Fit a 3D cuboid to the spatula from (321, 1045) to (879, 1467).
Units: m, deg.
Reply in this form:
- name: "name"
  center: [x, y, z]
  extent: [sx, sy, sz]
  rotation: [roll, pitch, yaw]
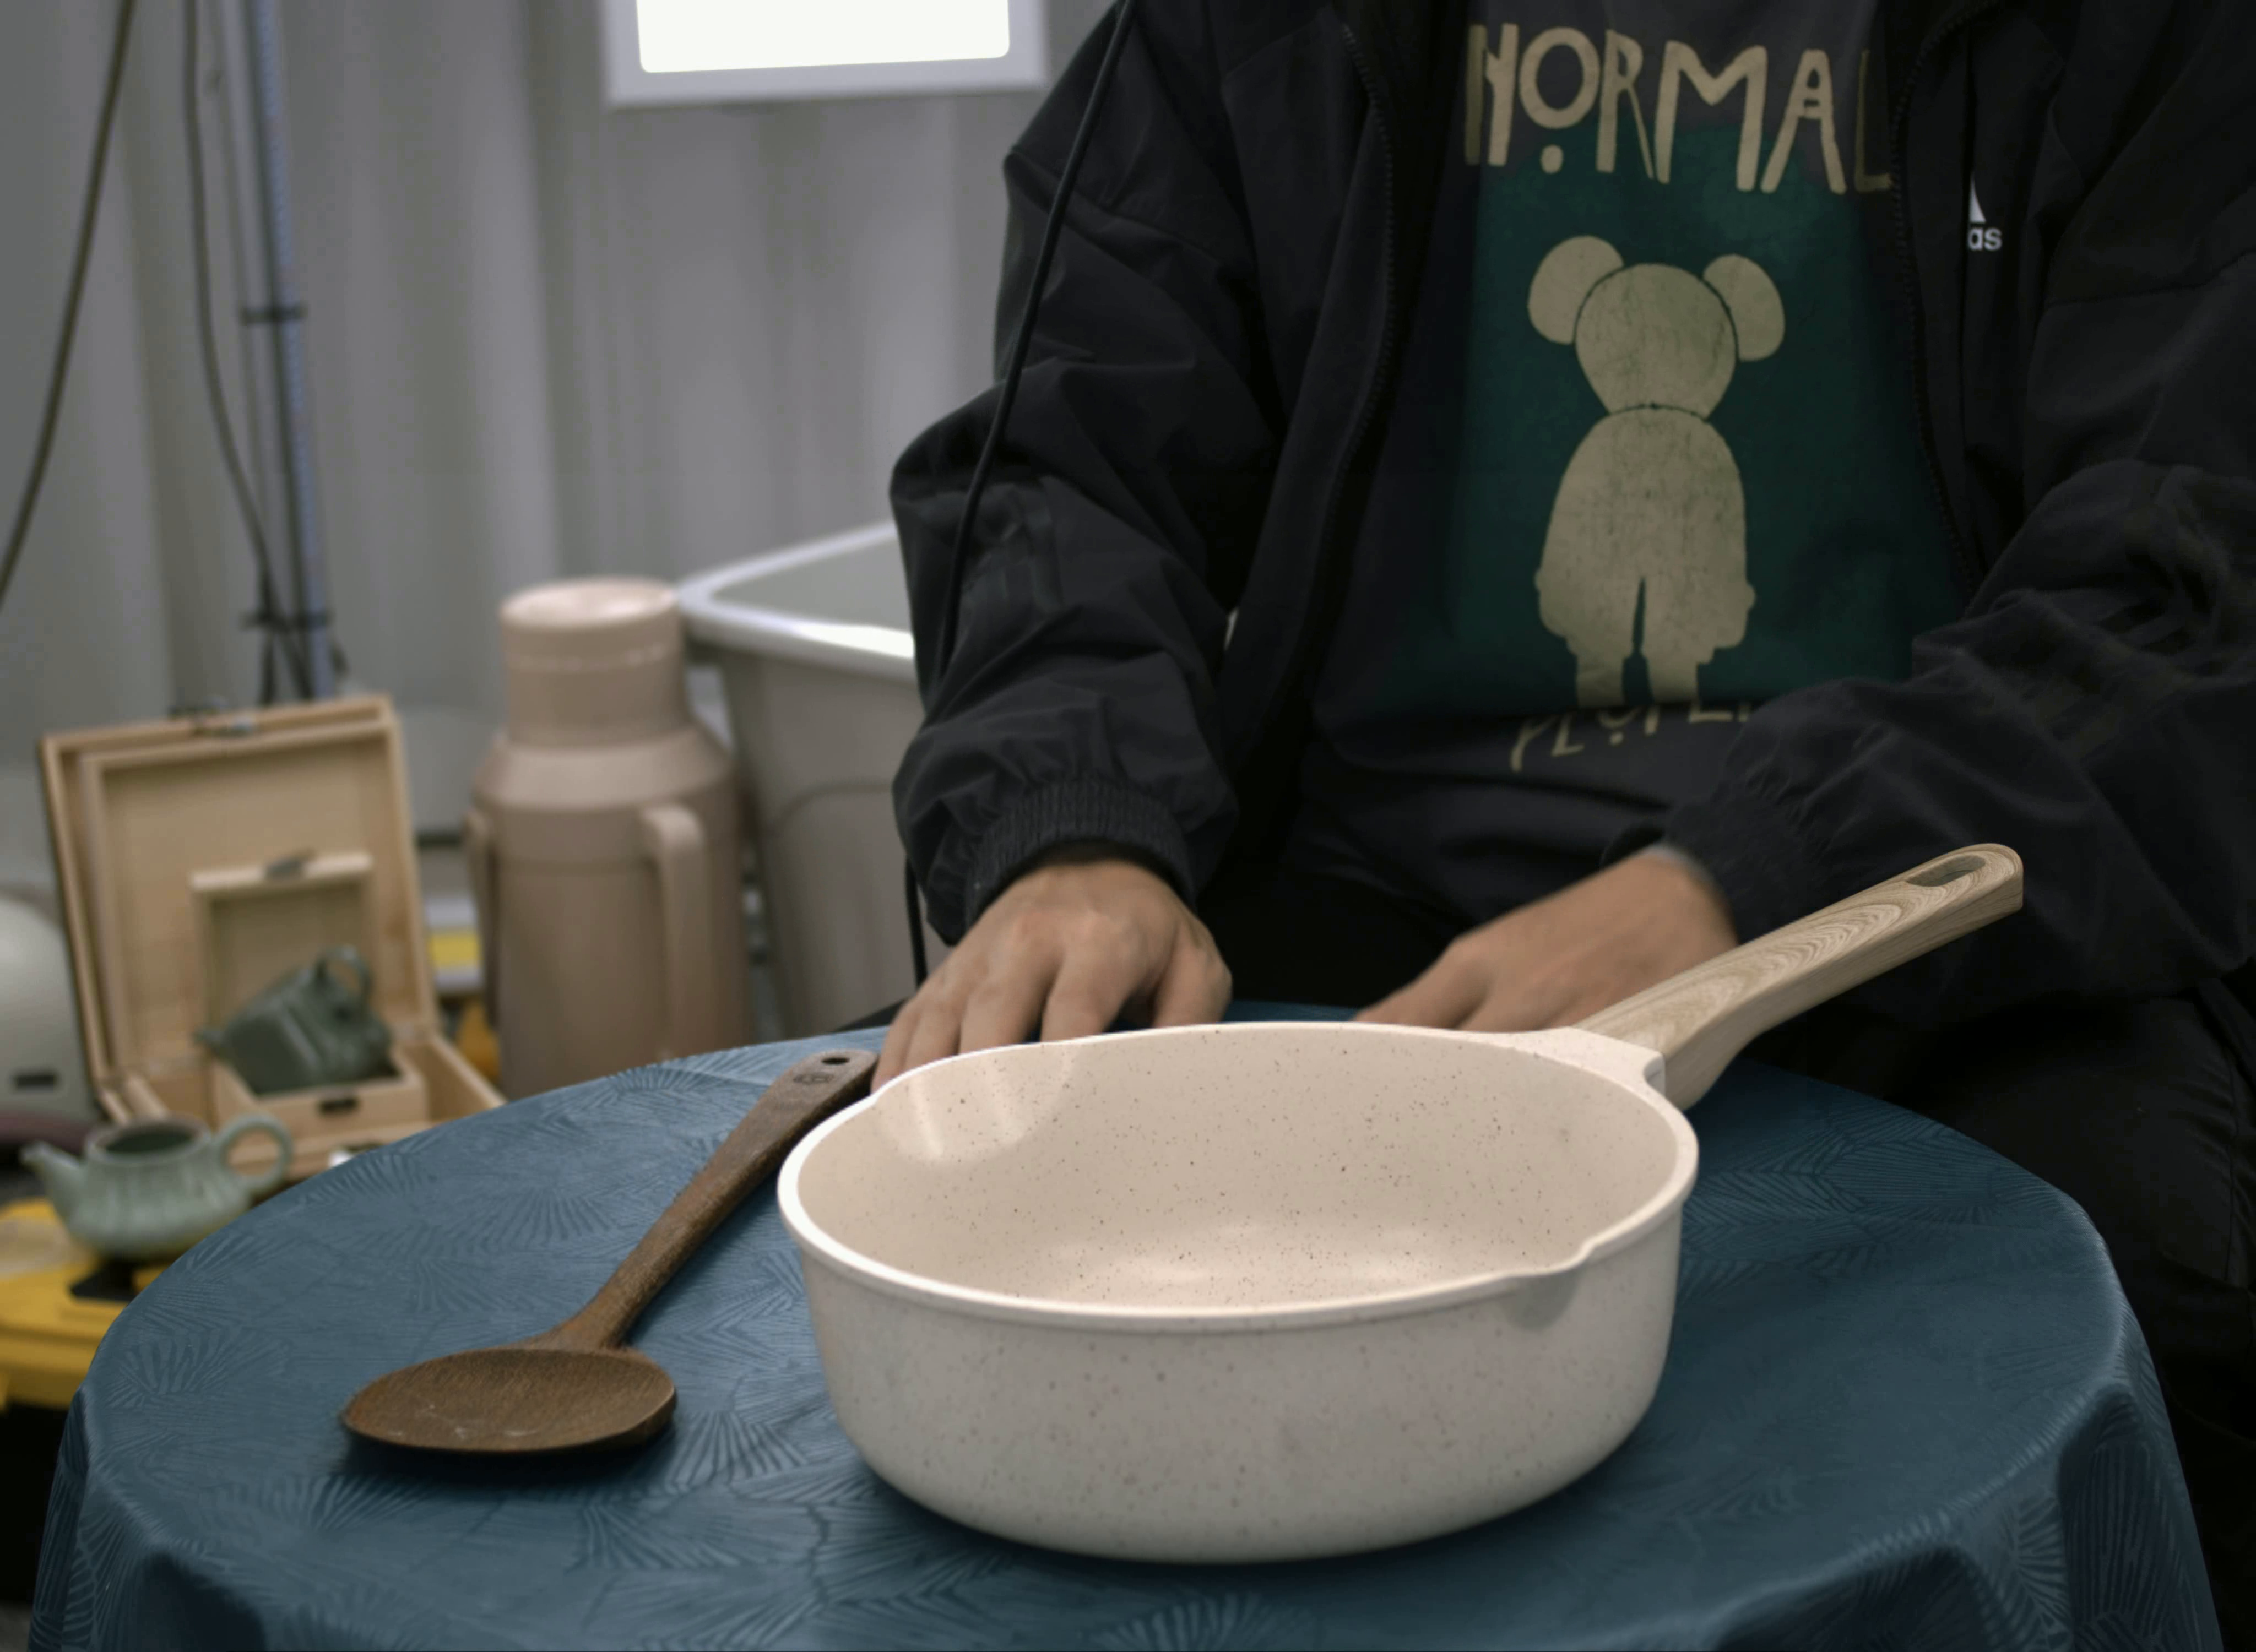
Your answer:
- name: "spatula"
  center: [-0.139, 0.125, 1.674]
  extent: [0.096, 0.016, 0.387]
  rotation: [1, 15, 14]

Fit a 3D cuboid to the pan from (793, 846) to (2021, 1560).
- name: "pan"
  center: [0.106, 0.101, 1.547]
  extent: [0.434, 0.101, 0.265]
  rotation: [-15, 17, -37]
